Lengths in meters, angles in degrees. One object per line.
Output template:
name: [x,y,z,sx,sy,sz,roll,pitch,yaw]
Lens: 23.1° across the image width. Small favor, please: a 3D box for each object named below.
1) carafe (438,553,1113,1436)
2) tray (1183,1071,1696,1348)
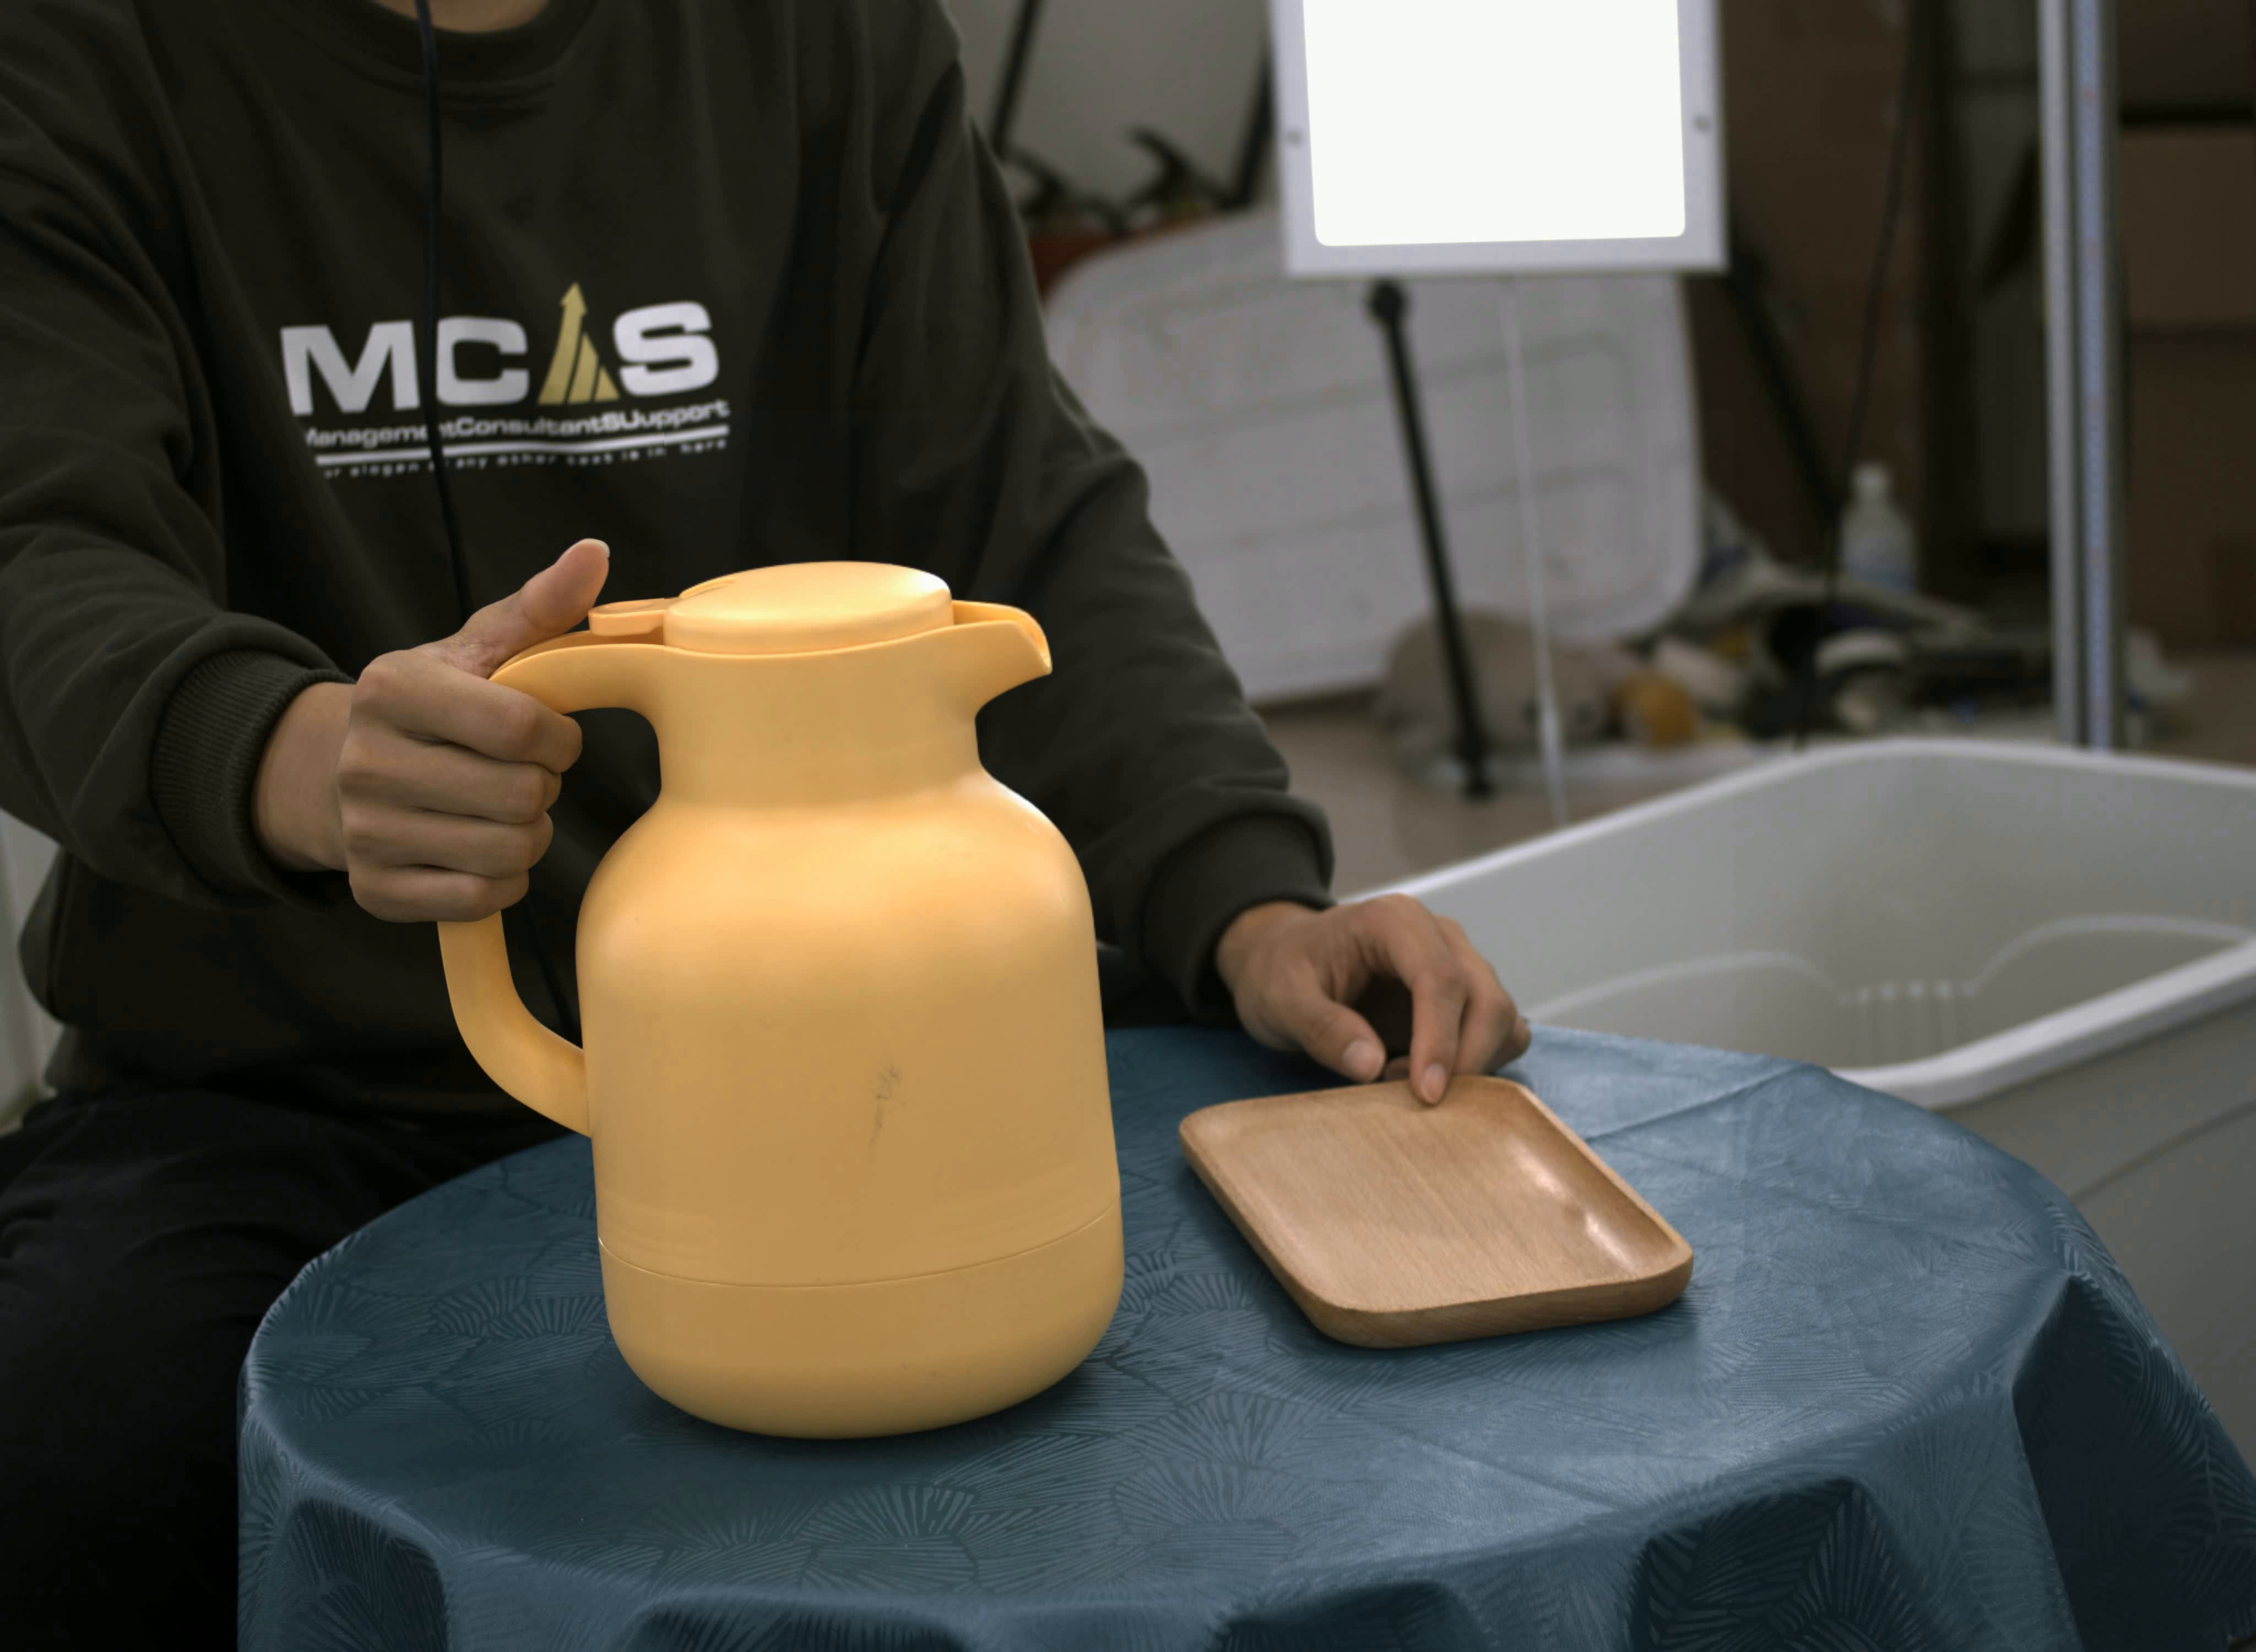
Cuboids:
carafe: [-0.109,0.048,1.703,0.203,0.261,0.162,-1,11,9]
tray: [0.100,0.125,1.833,0.129,0.023,0.252,-5,12,-9]
